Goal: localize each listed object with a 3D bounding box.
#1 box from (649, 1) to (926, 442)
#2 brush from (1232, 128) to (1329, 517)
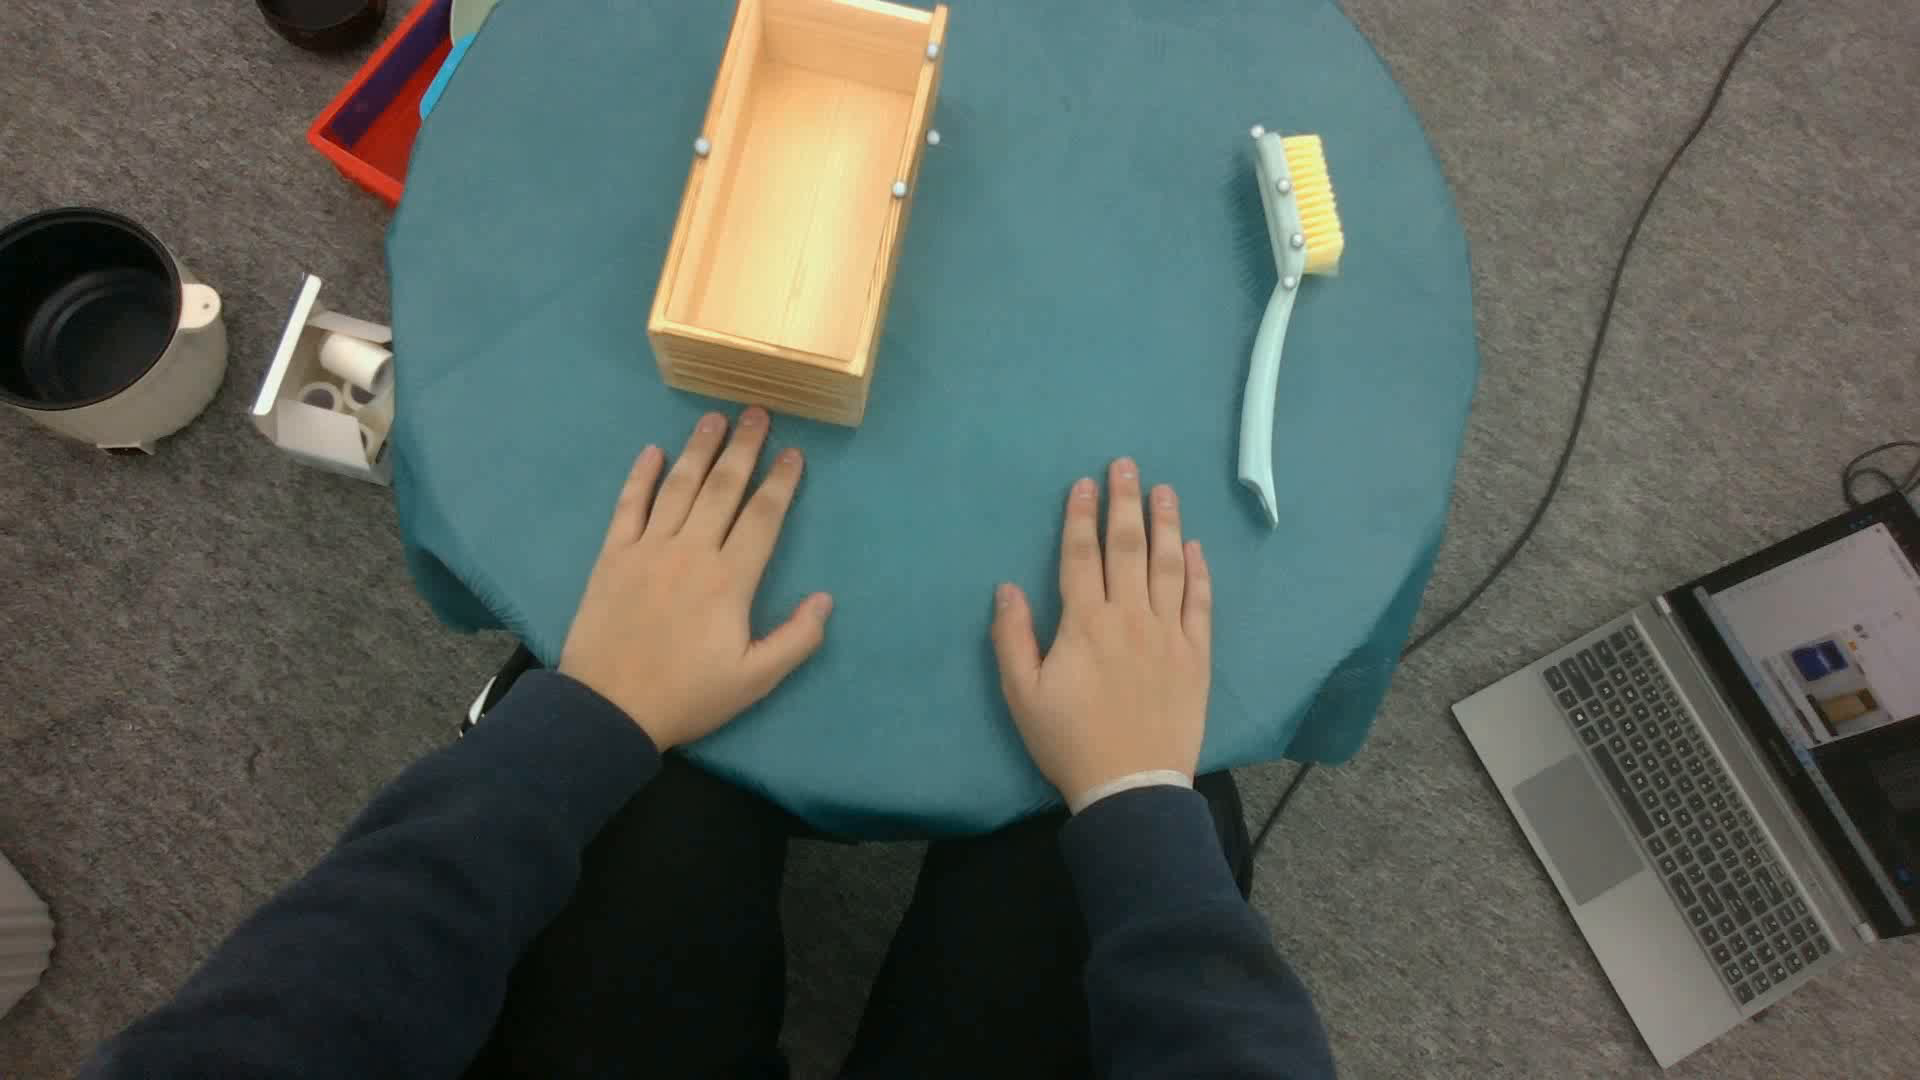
[{"bbox_3d":[-0.087,-0.170,0.736,0.107,0.080,0.212,9,74,-1],"label":"box"},{"bbox_3d":[0.180,-0.125,0.764,0.049,0.037,0.229,0,74,4],"label":"brush"}]
